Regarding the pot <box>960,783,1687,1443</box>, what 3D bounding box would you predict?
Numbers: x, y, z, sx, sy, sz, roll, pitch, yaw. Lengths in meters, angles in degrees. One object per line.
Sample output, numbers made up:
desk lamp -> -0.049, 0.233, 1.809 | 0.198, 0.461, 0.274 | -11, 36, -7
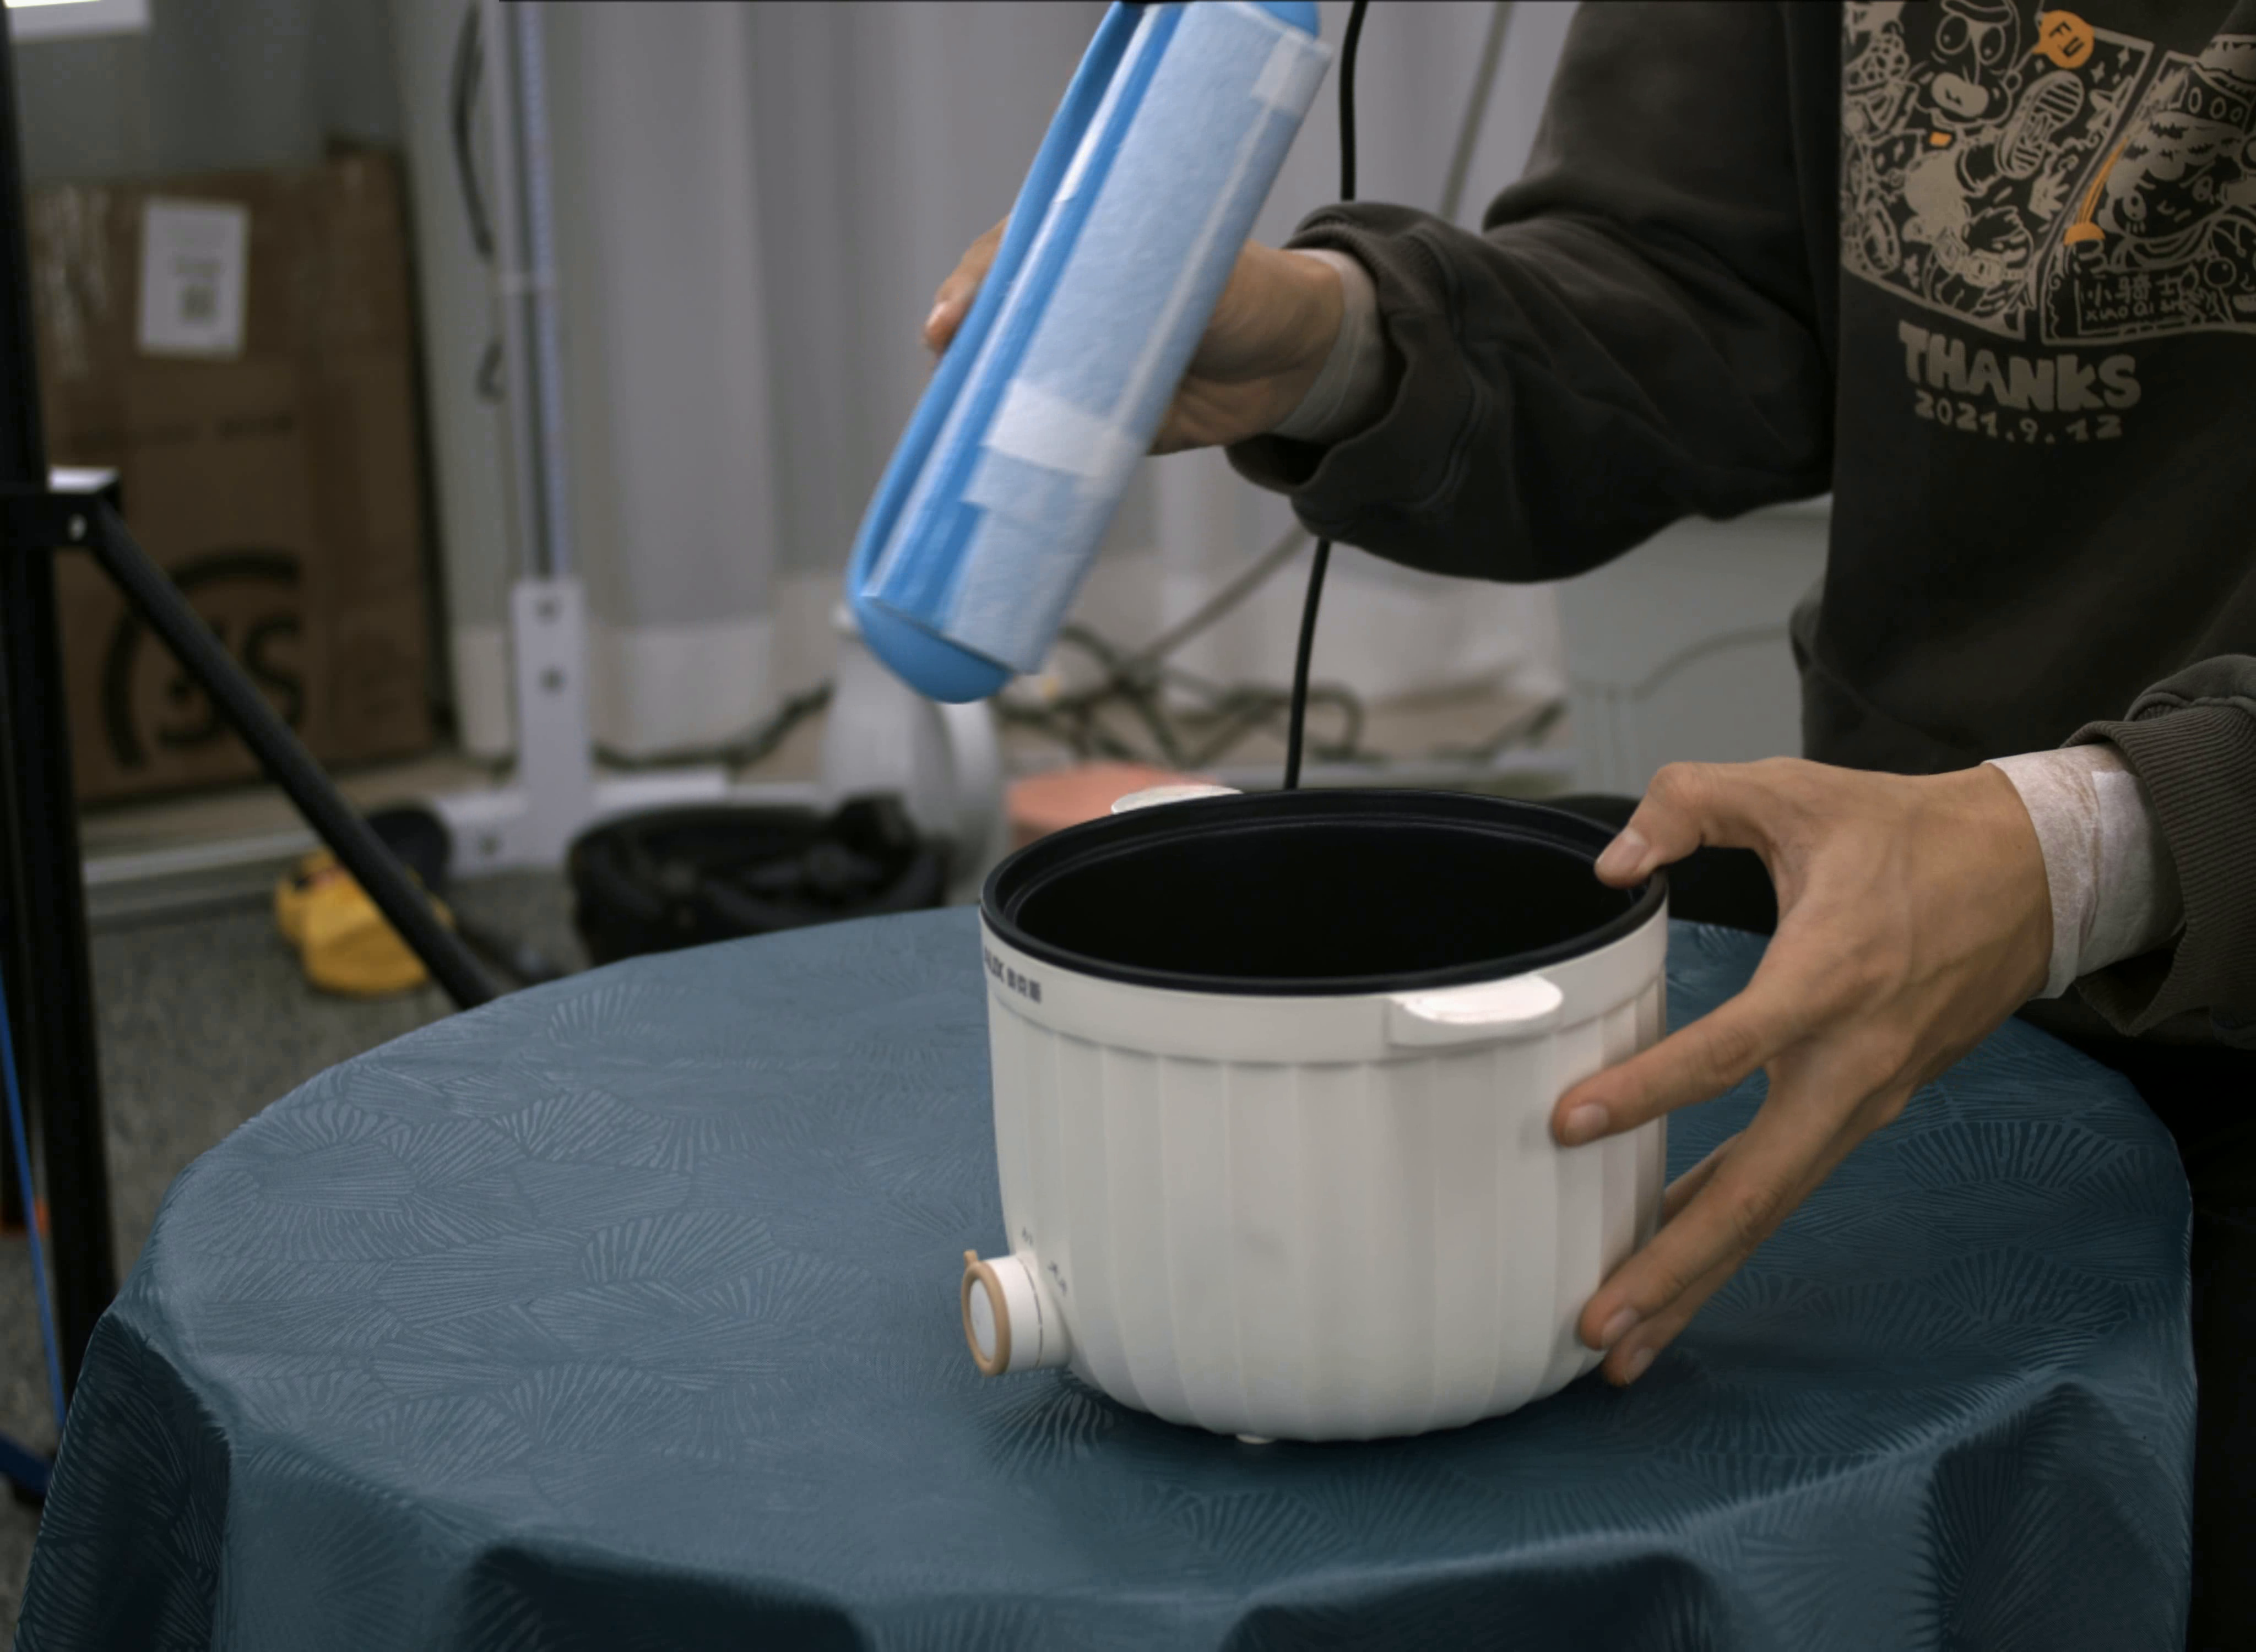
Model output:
pot -> 0.049, 0.079, 1.402 | 0.187, 0.143, 0.245 | -4, 14, -21

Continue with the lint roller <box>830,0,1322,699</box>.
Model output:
lint roller -> -0.018, -0.145, 1.555 | 0.067, 0.229, 0.181 | 25, 1, -6
